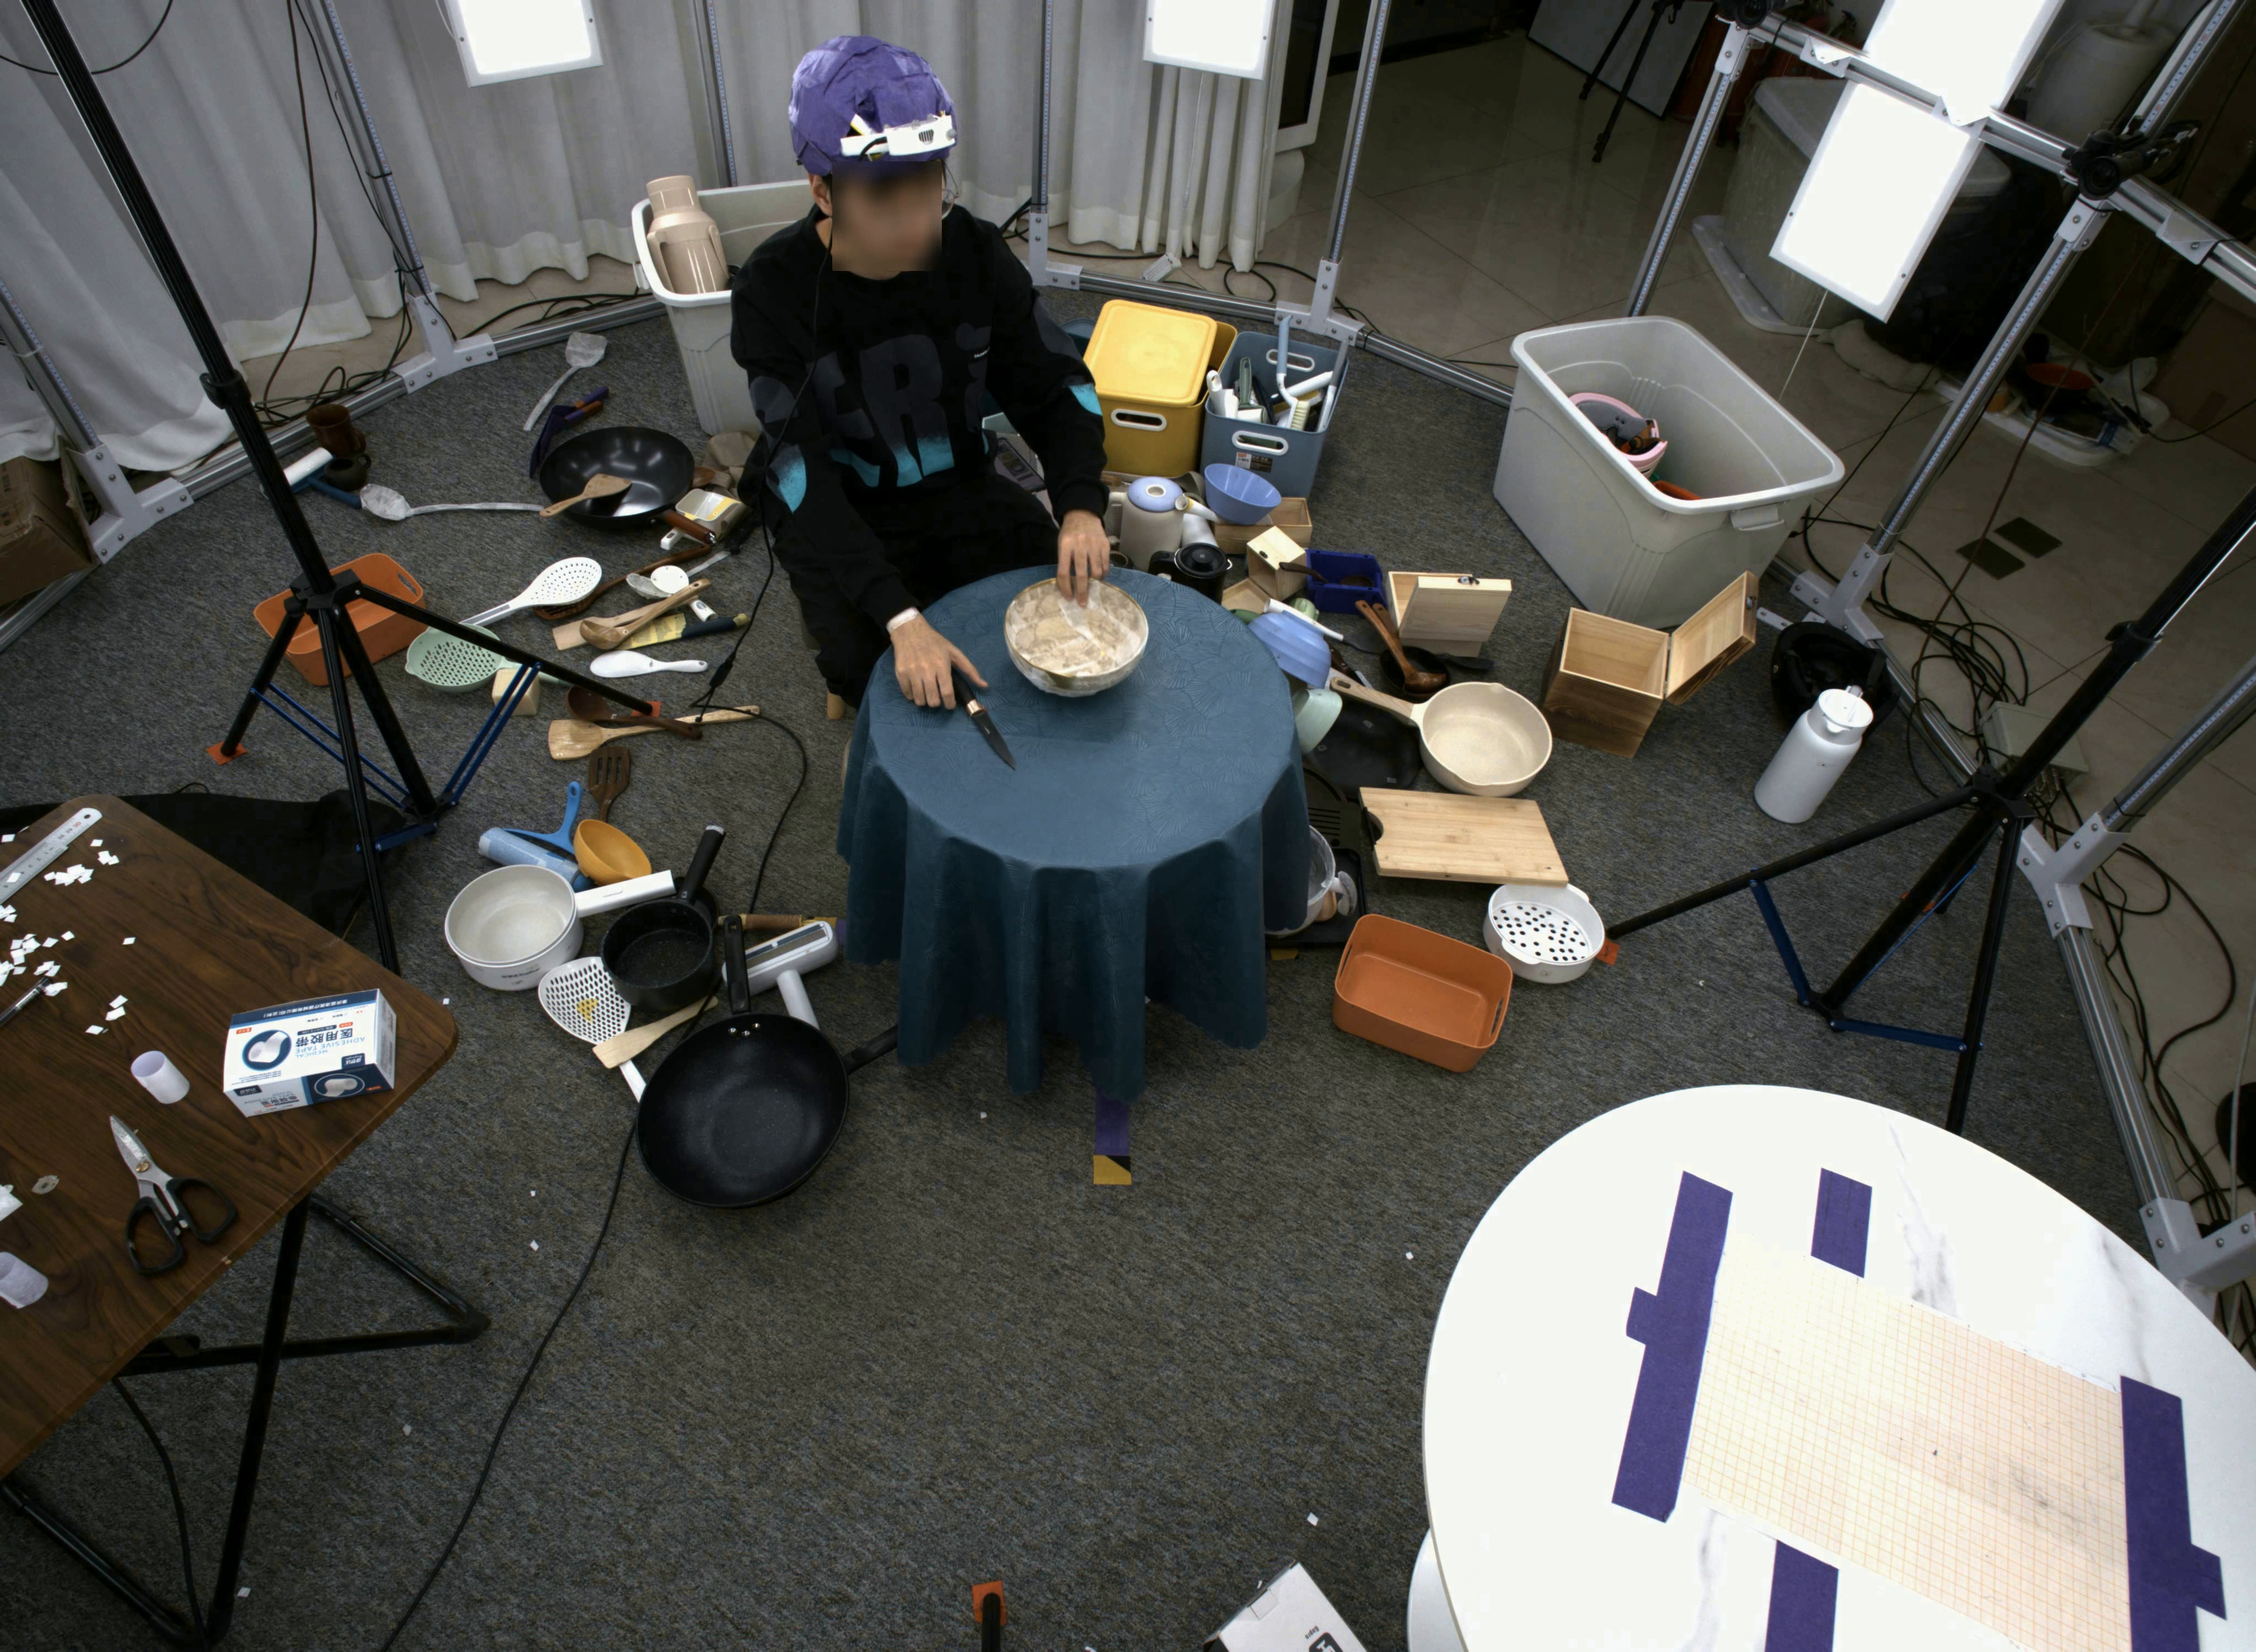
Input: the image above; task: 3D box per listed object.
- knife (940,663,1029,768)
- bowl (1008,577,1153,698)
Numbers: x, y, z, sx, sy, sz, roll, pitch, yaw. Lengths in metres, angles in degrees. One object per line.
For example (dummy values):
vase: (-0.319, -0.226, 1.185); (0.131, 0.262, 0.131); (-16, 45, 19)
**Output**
knife: (-0.201, -0.154, 1.782); (0.026, 0.017, 0.230); (-19, 54, -29)
bowl: (-0.070, -0.254, 1.822); (0.214, 0.092, 0.220); (1, 51, -2)
